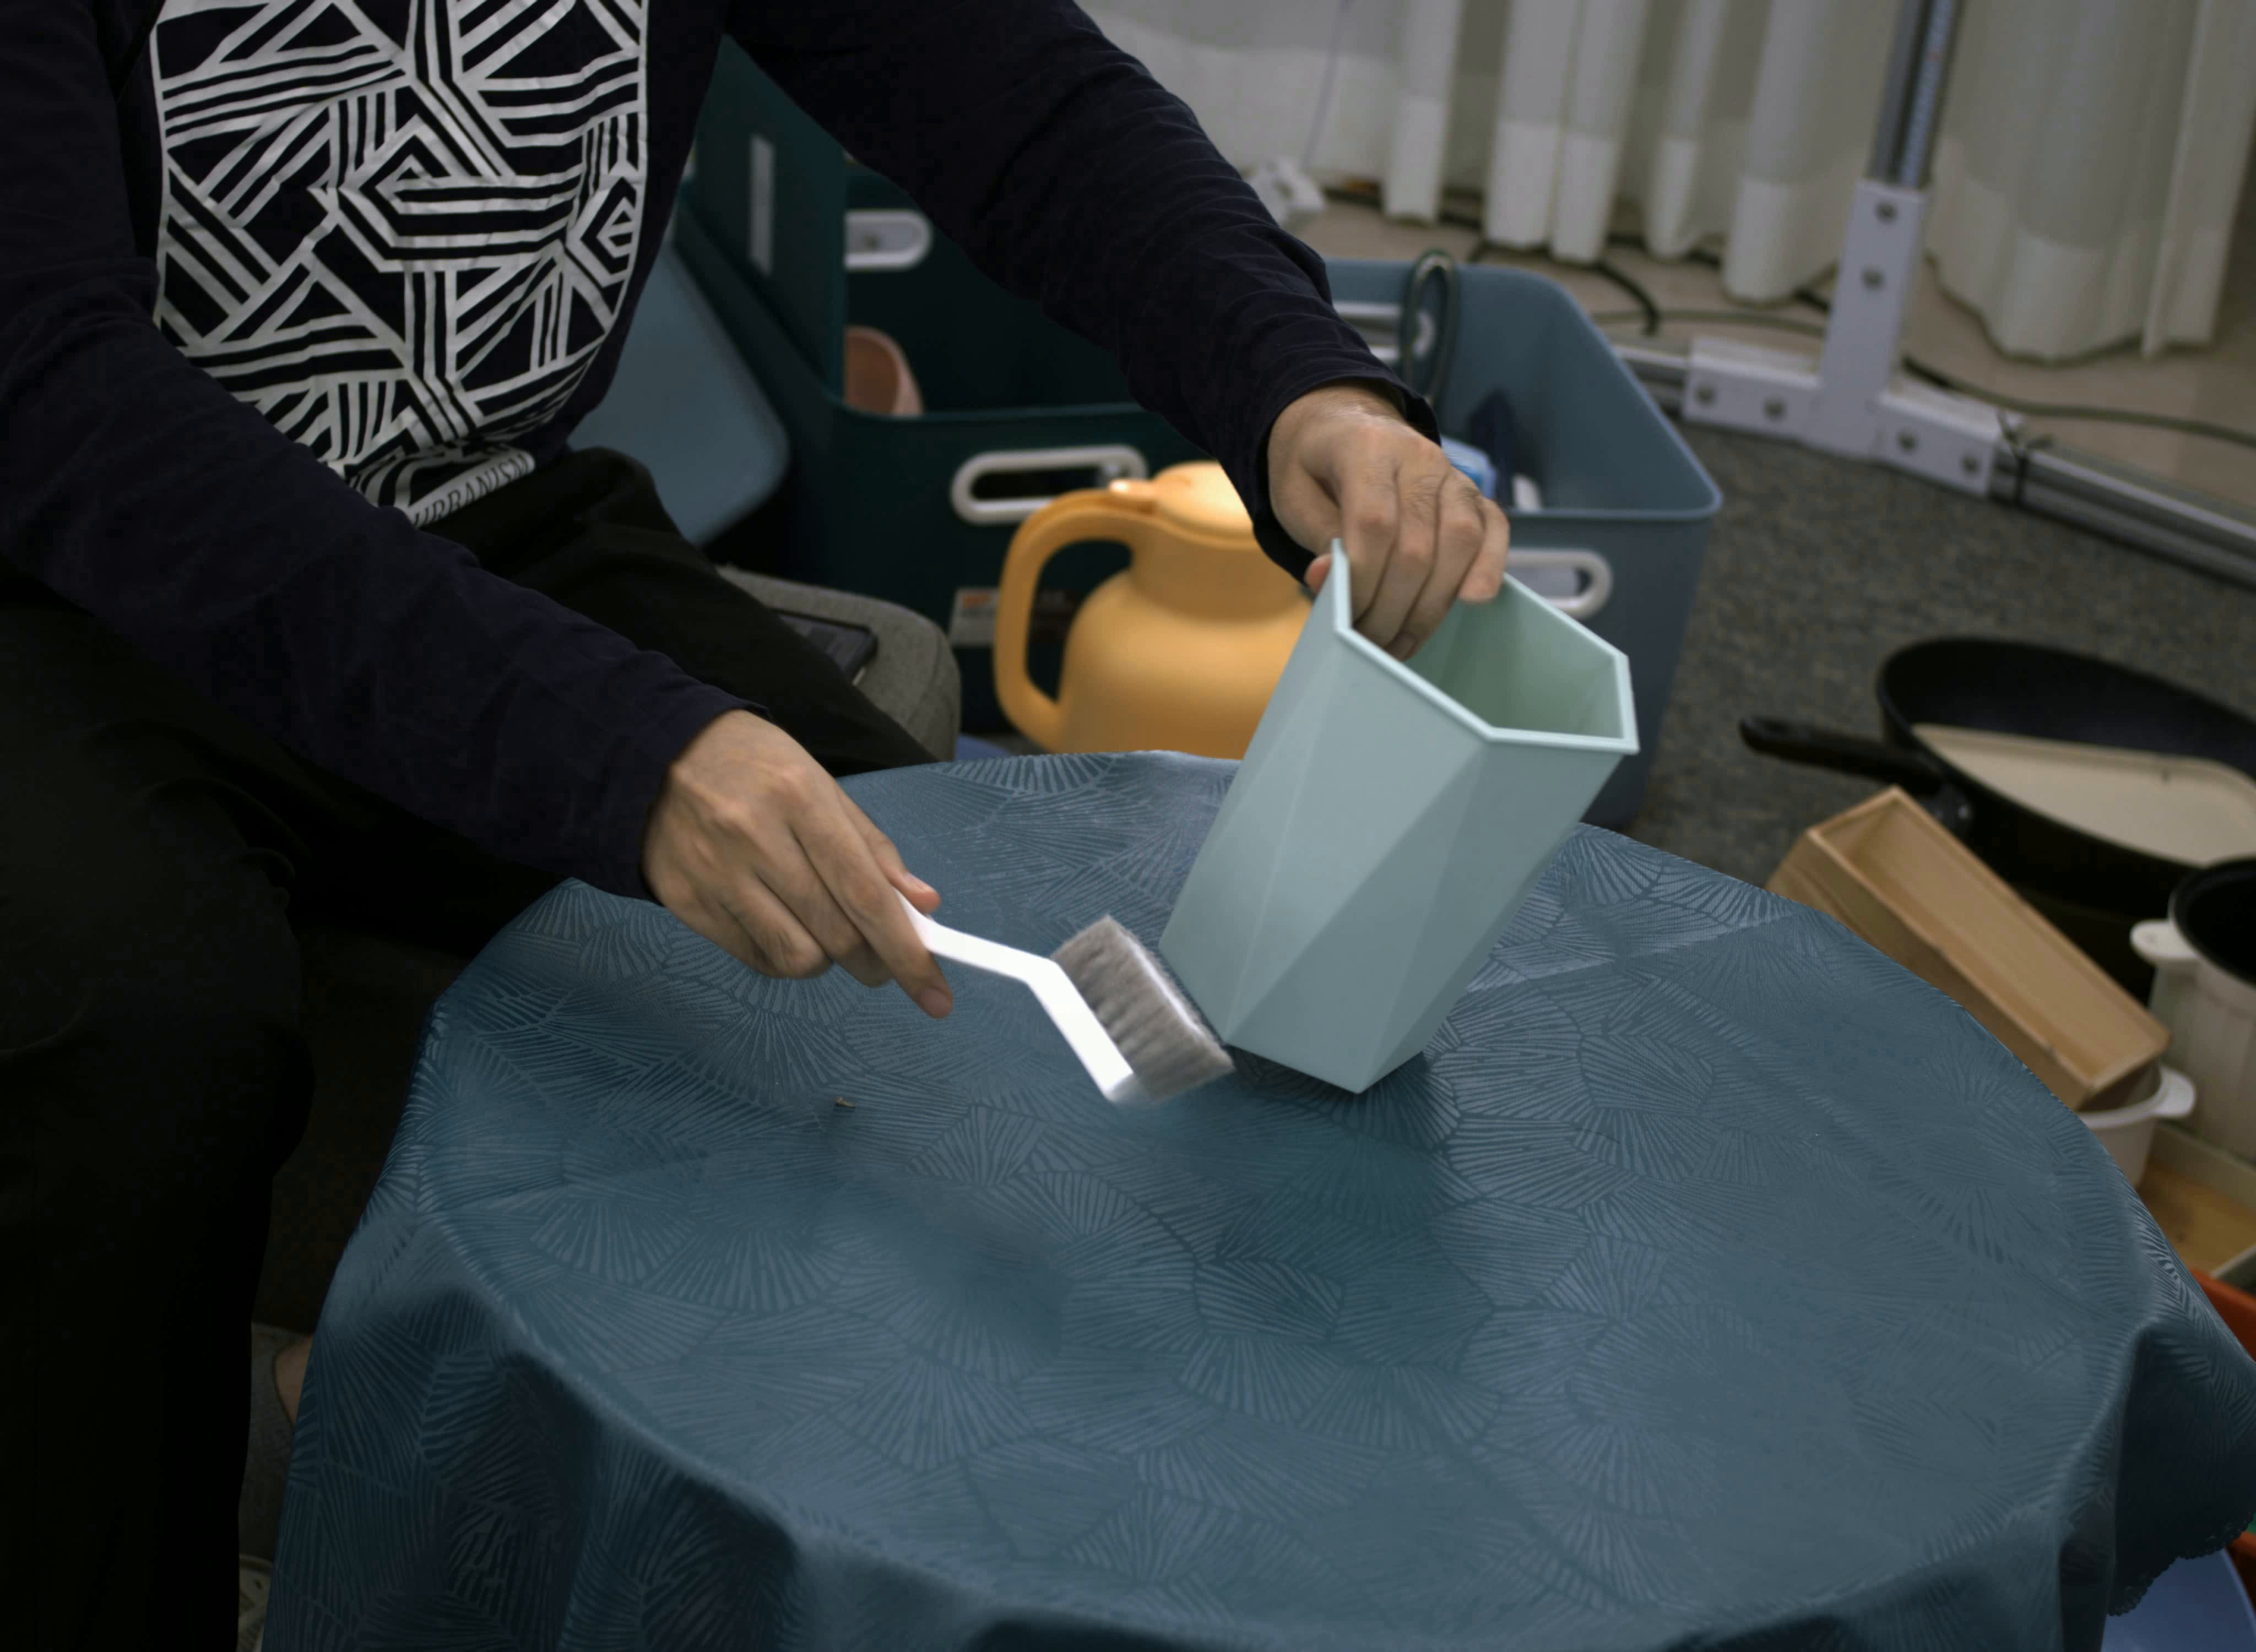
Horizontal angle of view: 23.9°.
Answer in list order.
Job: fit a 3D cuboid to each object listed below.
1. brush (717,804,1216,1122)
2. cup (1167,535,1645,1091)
[{"bbox_3d":[-0.057,0.029,1.801,0.246,0.050,0.034,33,-1,44],"label":"brush"},{"bbox_3d":[0.093,-0.002,1.869,0.114,0.162,0.132,20,28,-12],"label":"cup"}]
